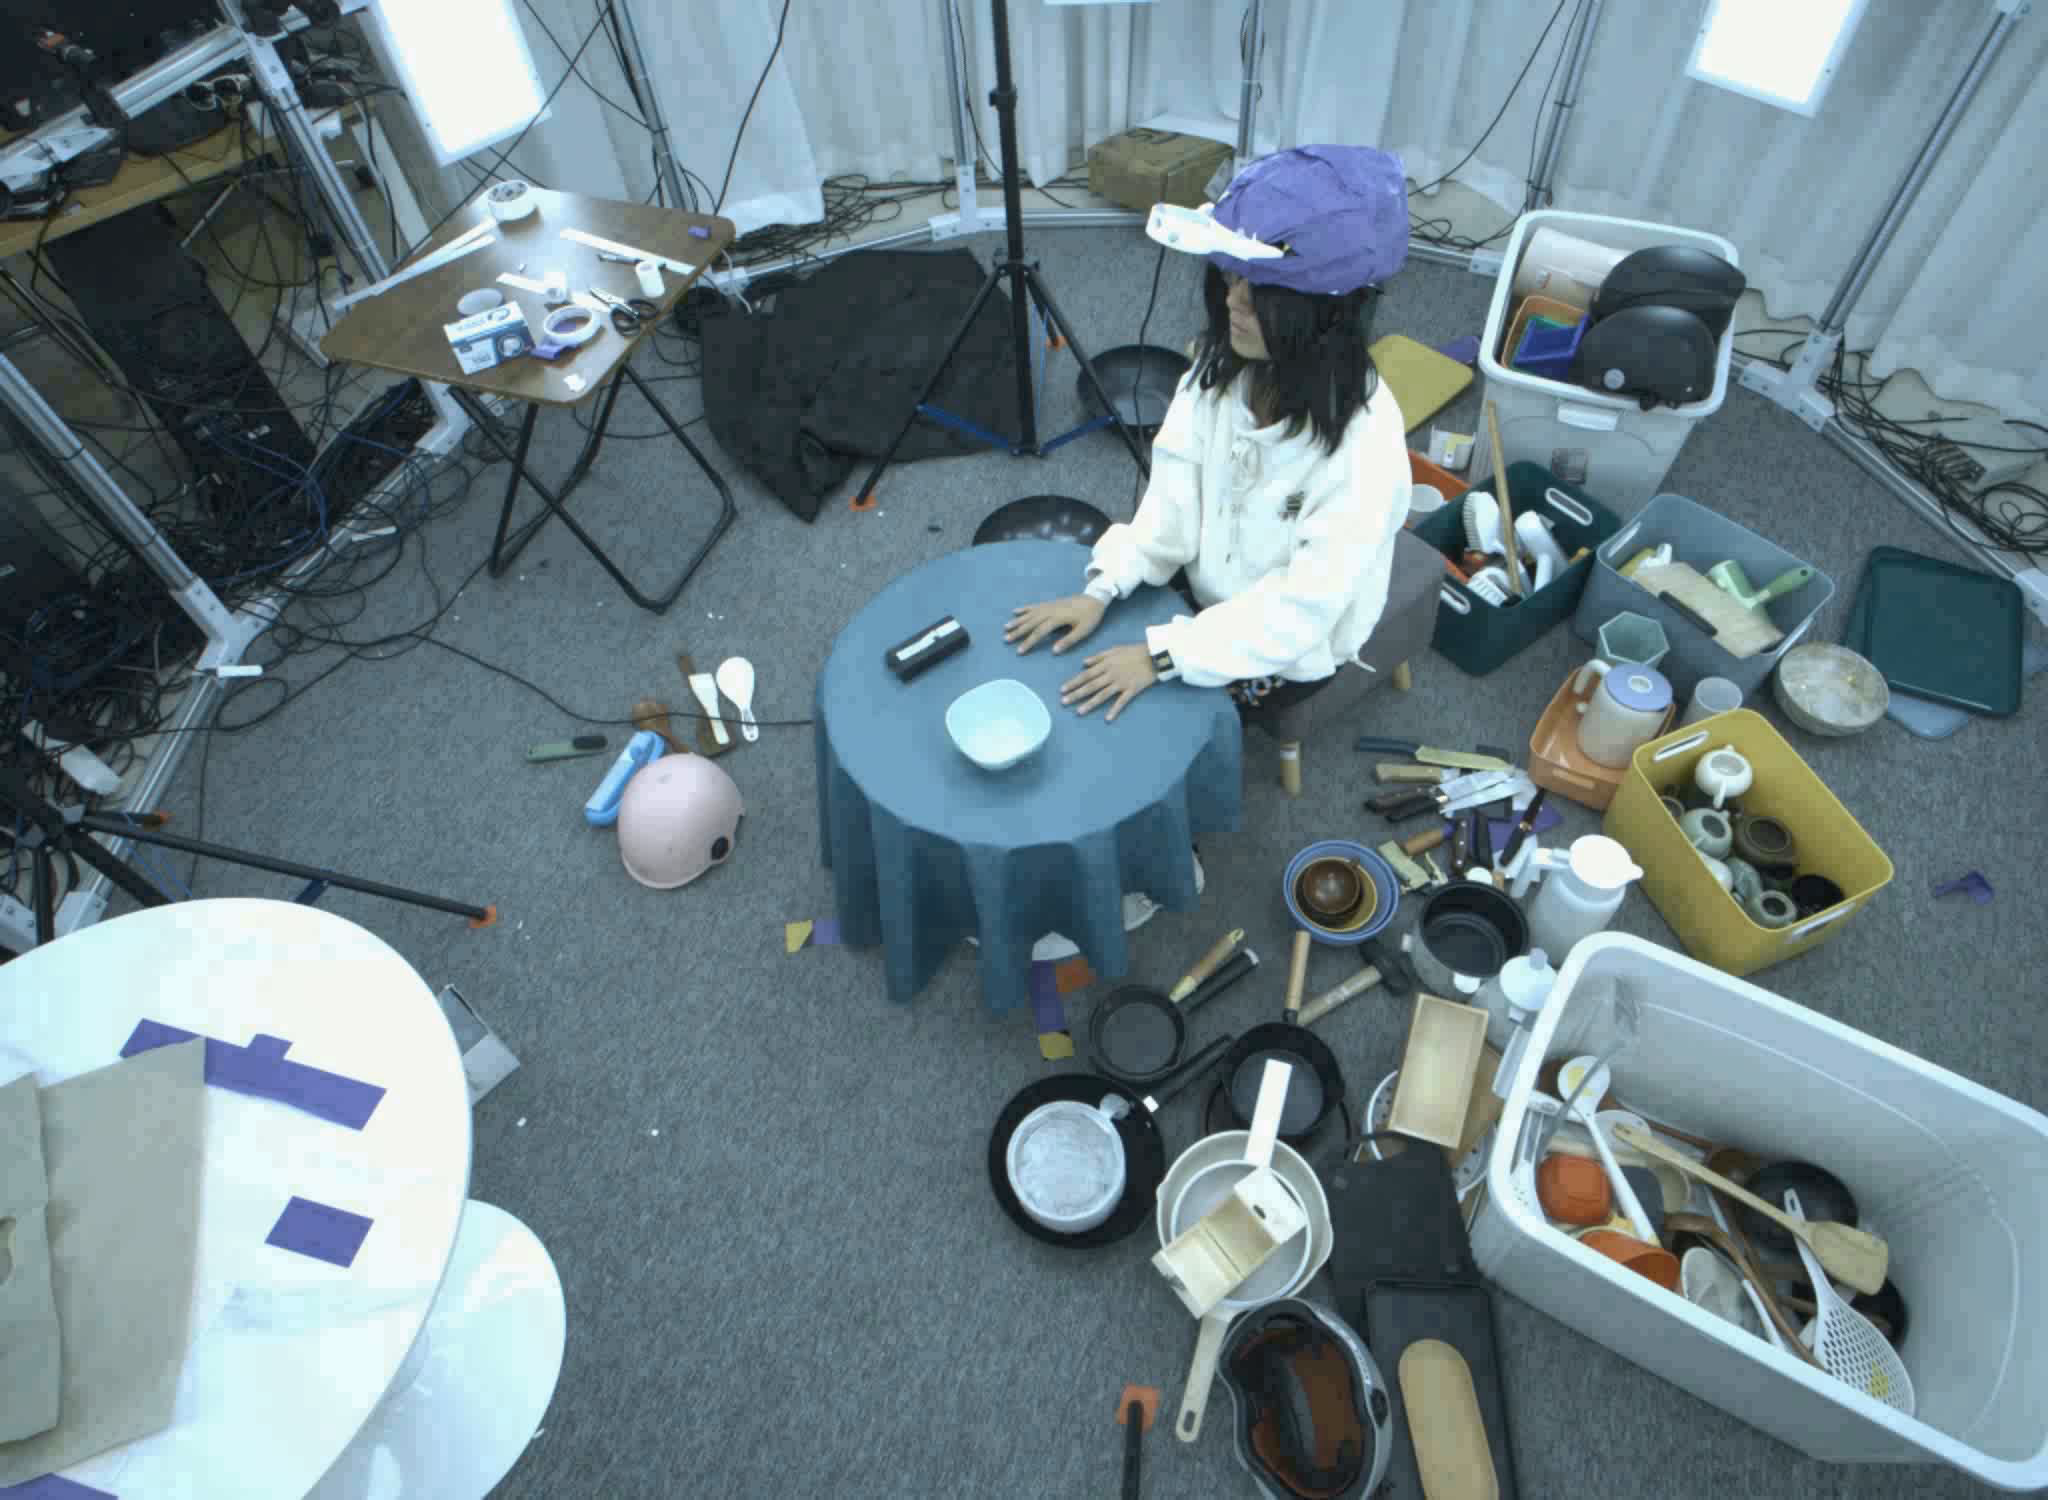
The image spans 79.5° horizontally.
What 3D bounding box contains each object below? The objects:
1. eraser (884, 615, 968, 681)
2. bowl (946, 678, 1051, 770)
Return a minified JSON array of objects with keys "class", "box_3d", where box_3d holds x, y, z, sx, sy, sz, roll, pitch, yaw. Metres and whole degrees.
[{"class":"eraser","box_3d":[-0.151,-0.157,1.888,0.126,0.031,0.052,-33,61,-22]},{"class":"bowl","box_3d":[-0.036,-0.027,1.774,0.151,0.059,0.150,0,58,1]}]
